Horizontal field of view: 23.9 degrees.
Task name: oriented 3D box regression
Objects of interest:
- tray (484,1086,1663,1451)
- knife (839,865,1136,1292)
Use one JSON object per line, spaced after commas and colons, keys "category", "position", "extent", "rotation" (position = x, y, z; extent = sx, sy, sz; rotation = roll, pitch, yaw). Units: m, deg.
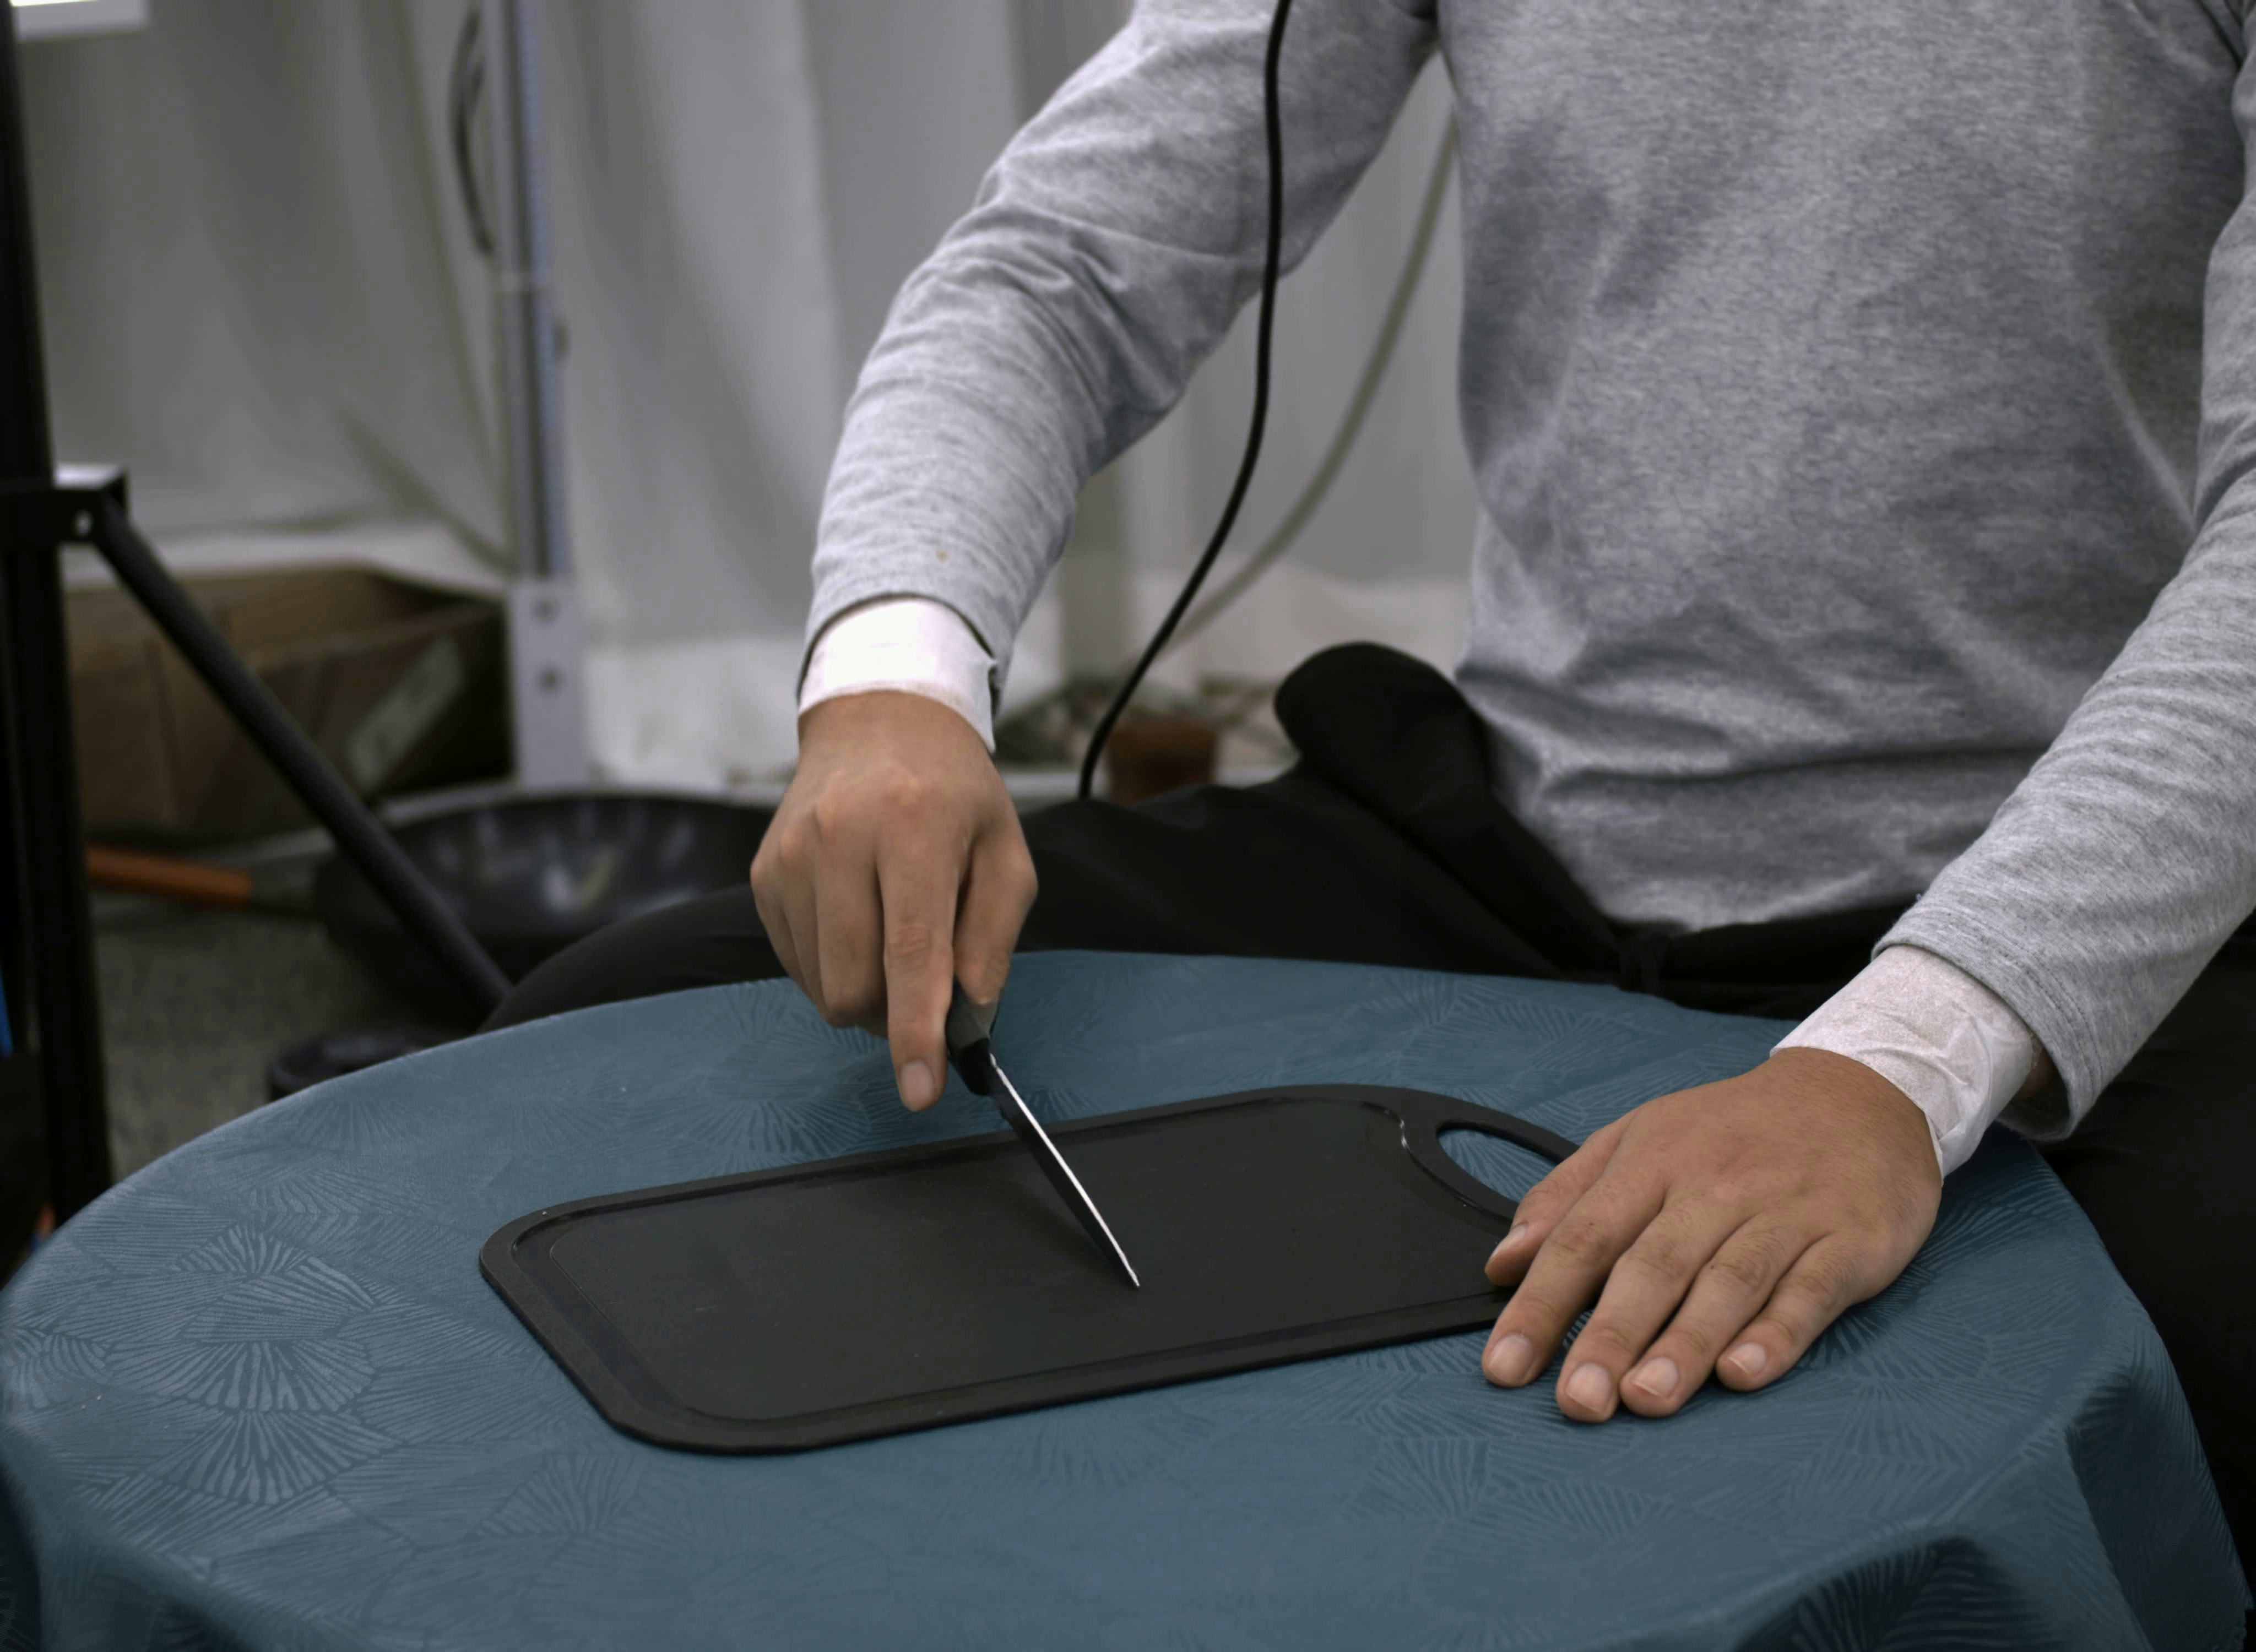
{"category": "tray", "position": [-0.011, 0.119, 1.513], "extent": [0.319, 0.010, 0.215], "rotation": [-8, 17, -19]}
{"category": "knife", "position": [-0.041, 0.073, 1.574], "extent": [0.016, 0.024, 0.243], "rotation": [-17, 34, -15]}
